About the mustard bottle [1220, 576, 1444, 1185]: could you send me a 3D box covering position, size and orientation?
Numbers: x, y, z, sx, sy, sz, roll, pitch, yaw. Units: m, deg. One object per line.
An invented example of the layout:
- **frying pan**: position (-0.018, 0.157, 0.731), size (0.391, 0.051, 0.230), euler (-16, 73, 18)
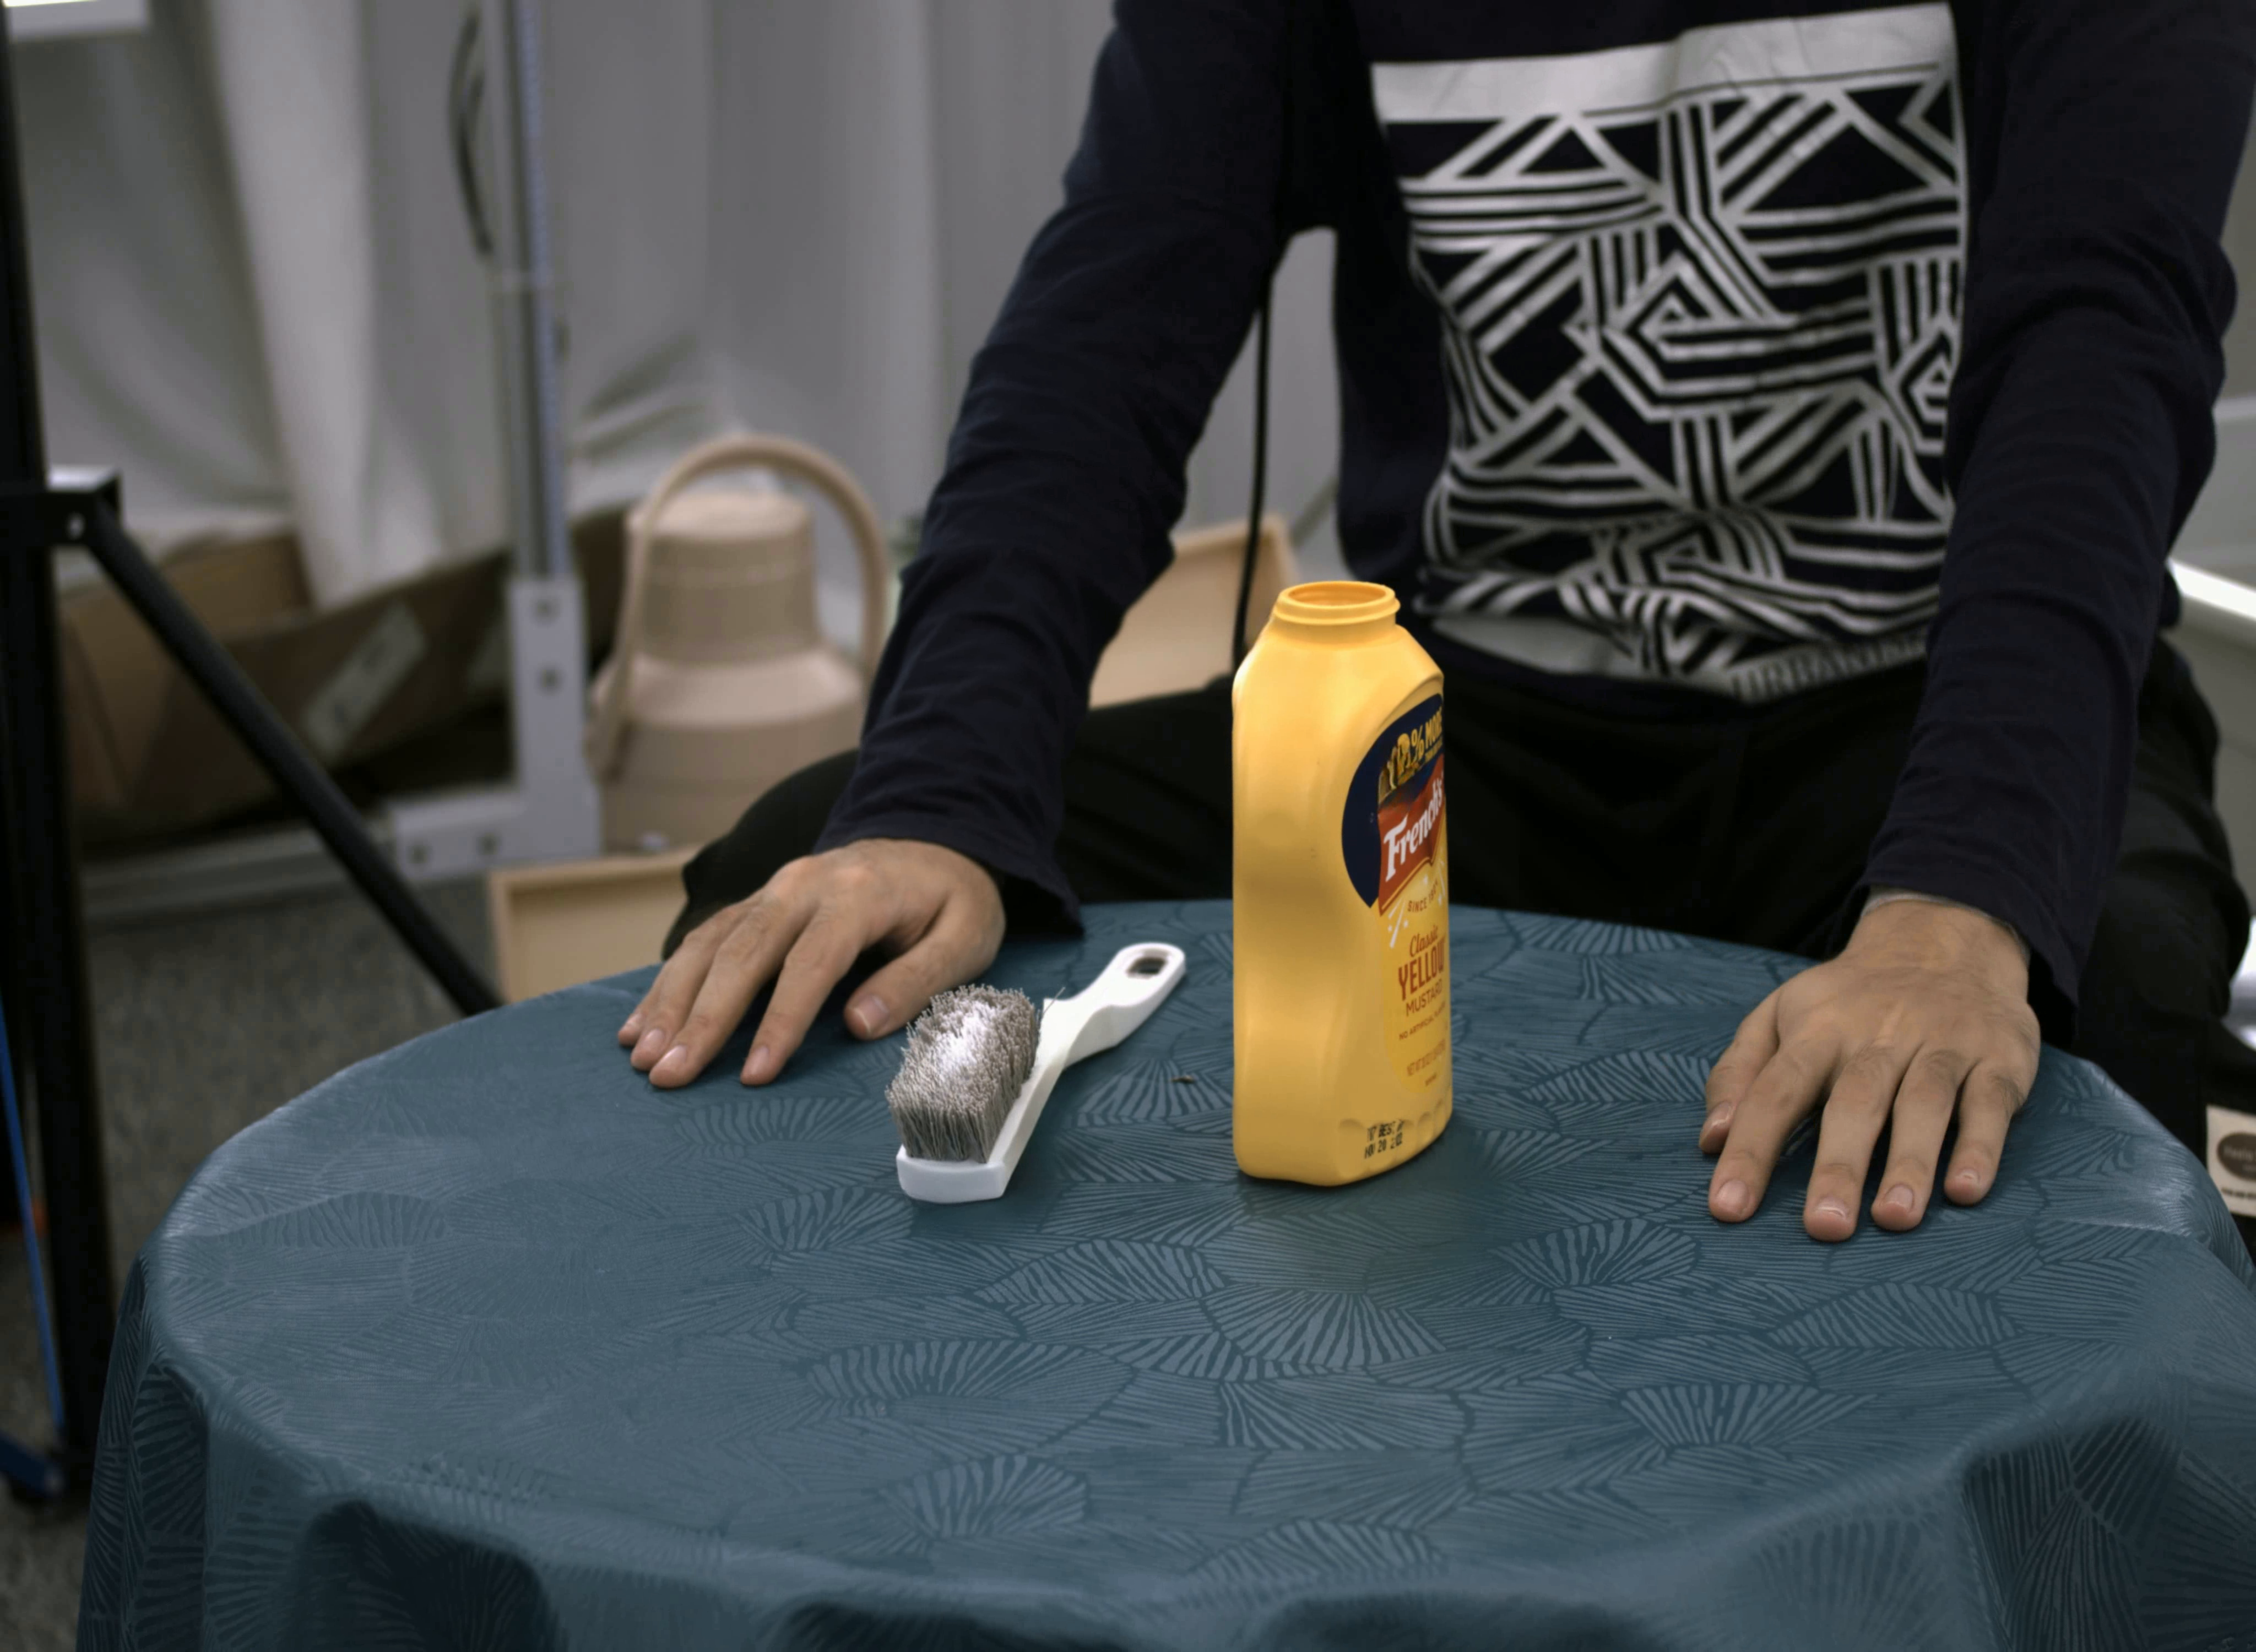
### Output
- **mustard bottle**: position (0.062, 0.013, 1.574), size (0.060, 0.172, 0.097), euler (6, 15, 19)

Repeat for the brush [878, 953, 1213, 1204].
- **brush**: position (-0.021, 0.058, 1.654), size (0.035, 0.050, 0.241), euler (-1, 15, 20)
